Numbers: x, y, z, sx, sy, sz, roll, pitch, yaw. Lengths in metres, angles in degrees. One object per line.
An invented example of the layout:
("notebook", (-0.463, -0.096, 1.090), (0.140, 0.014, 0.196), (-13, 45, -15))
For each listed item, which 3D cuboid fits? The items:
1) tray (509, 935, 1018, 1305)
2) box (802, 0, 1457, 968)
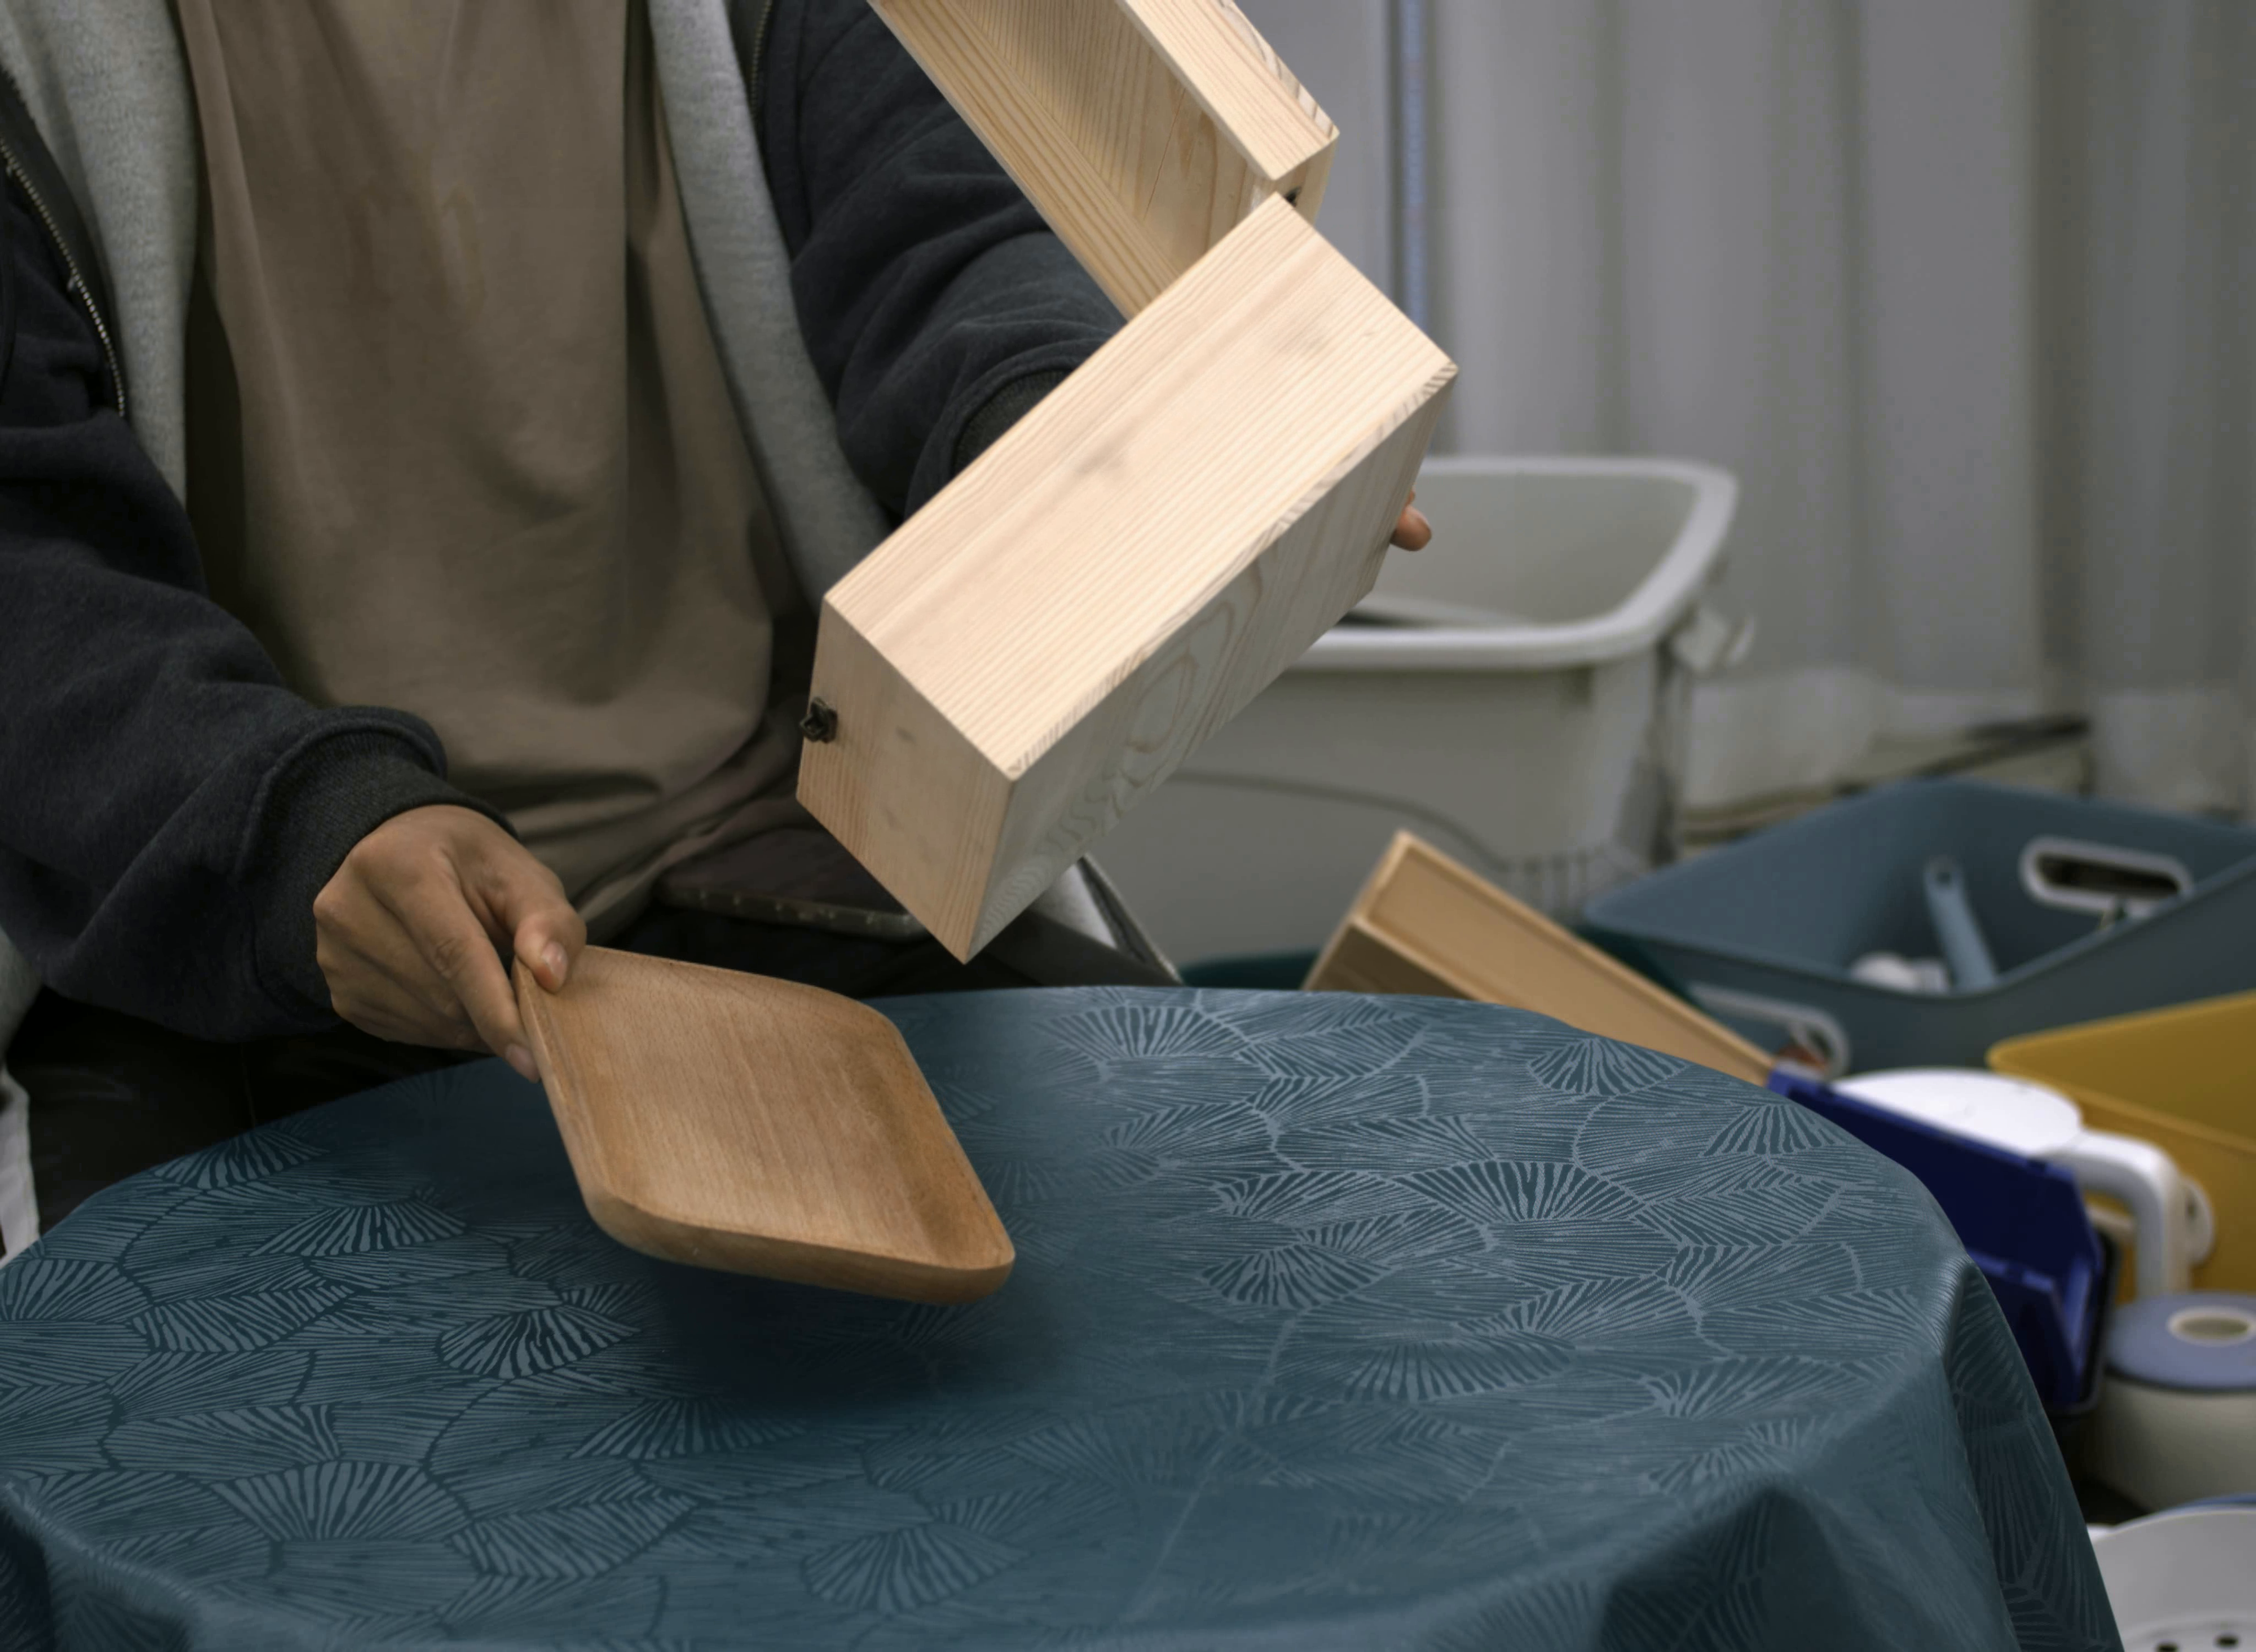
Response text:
("tray", (-0.114, 0.086, 1.643), (0.129, 0.023, 0.253), (14, 13, -16))
("box", (-0.038, -0.151, 1.637), (0.266, 0.254, 0.180), (-42, -13, -18))
